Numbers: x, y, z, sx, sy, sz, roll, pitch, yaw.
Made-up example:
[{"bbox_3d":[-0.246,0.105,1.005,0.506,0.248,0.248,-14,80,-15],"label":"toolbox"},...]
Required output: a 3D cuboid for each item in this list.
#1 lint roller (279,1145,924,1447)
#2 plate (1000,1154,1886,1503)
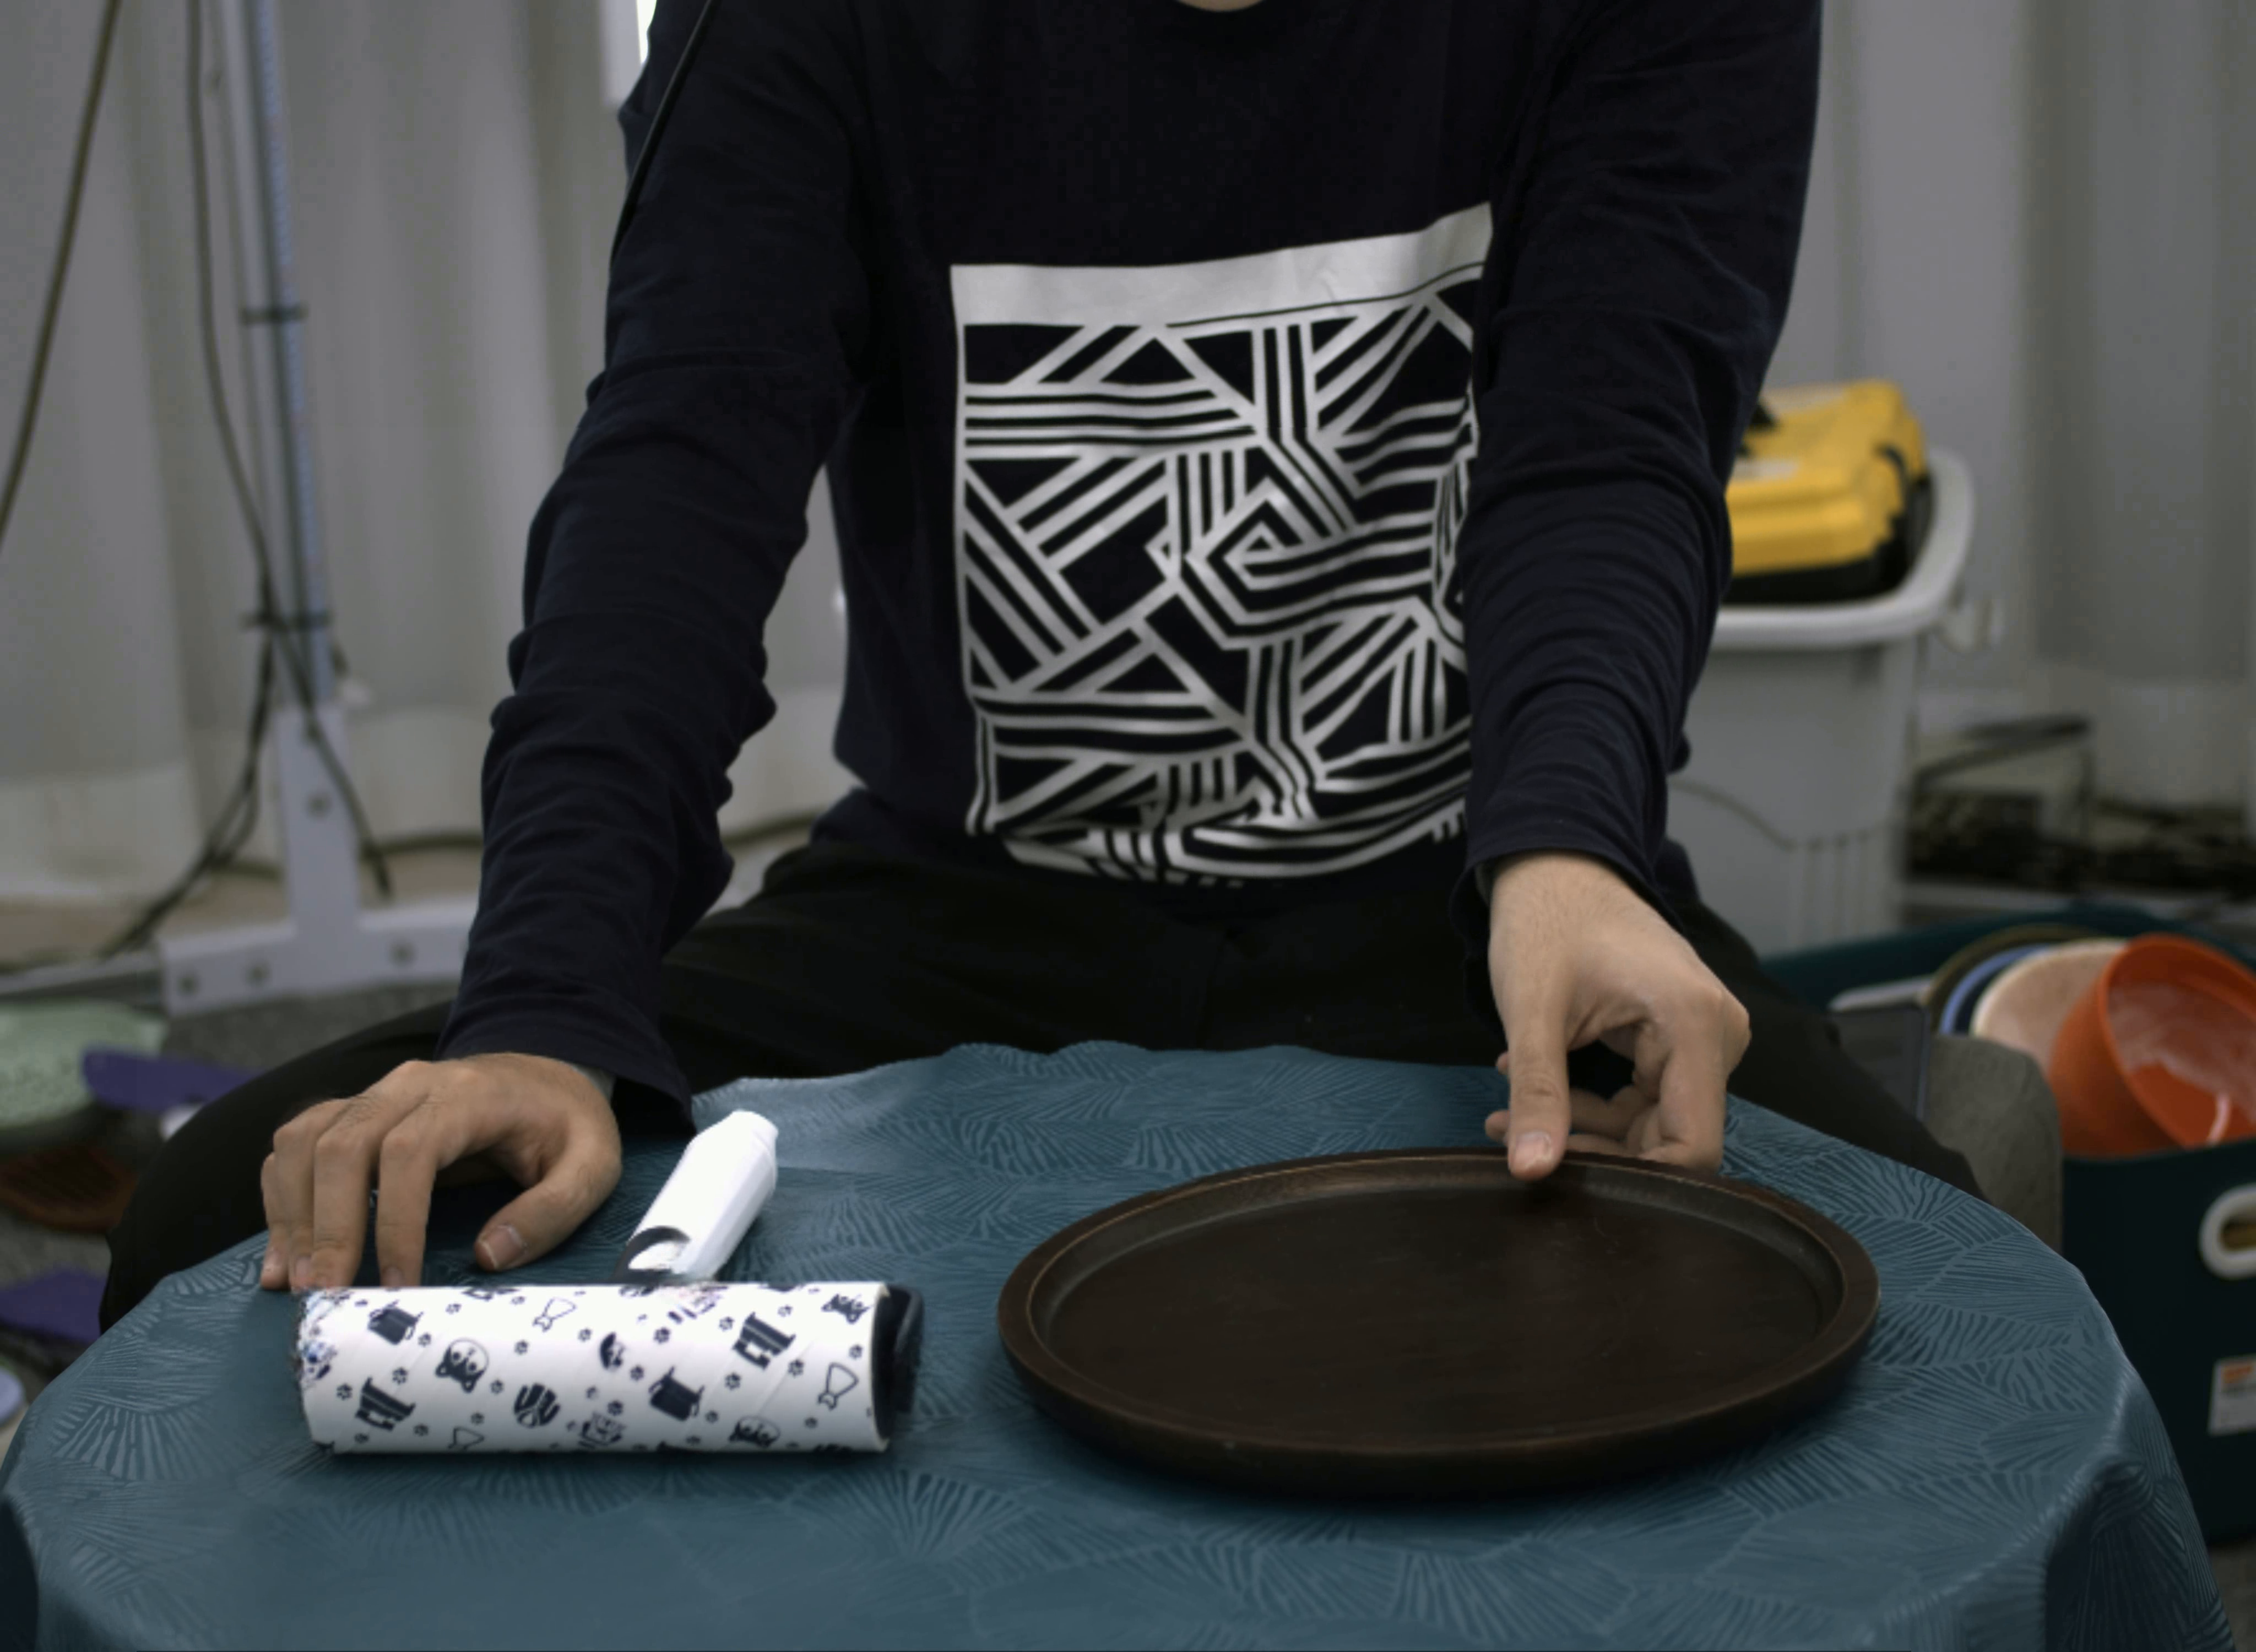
[{"bbox_3d":[-0.137,0.128,1.617,0.176,0.050,0.248,-2,12,6],"label":"lint roller"},{"bbox_3d":[0.089,0.141,1.559,0.254,0.029,0.256,-2,13,0],"label":"plate"}]
